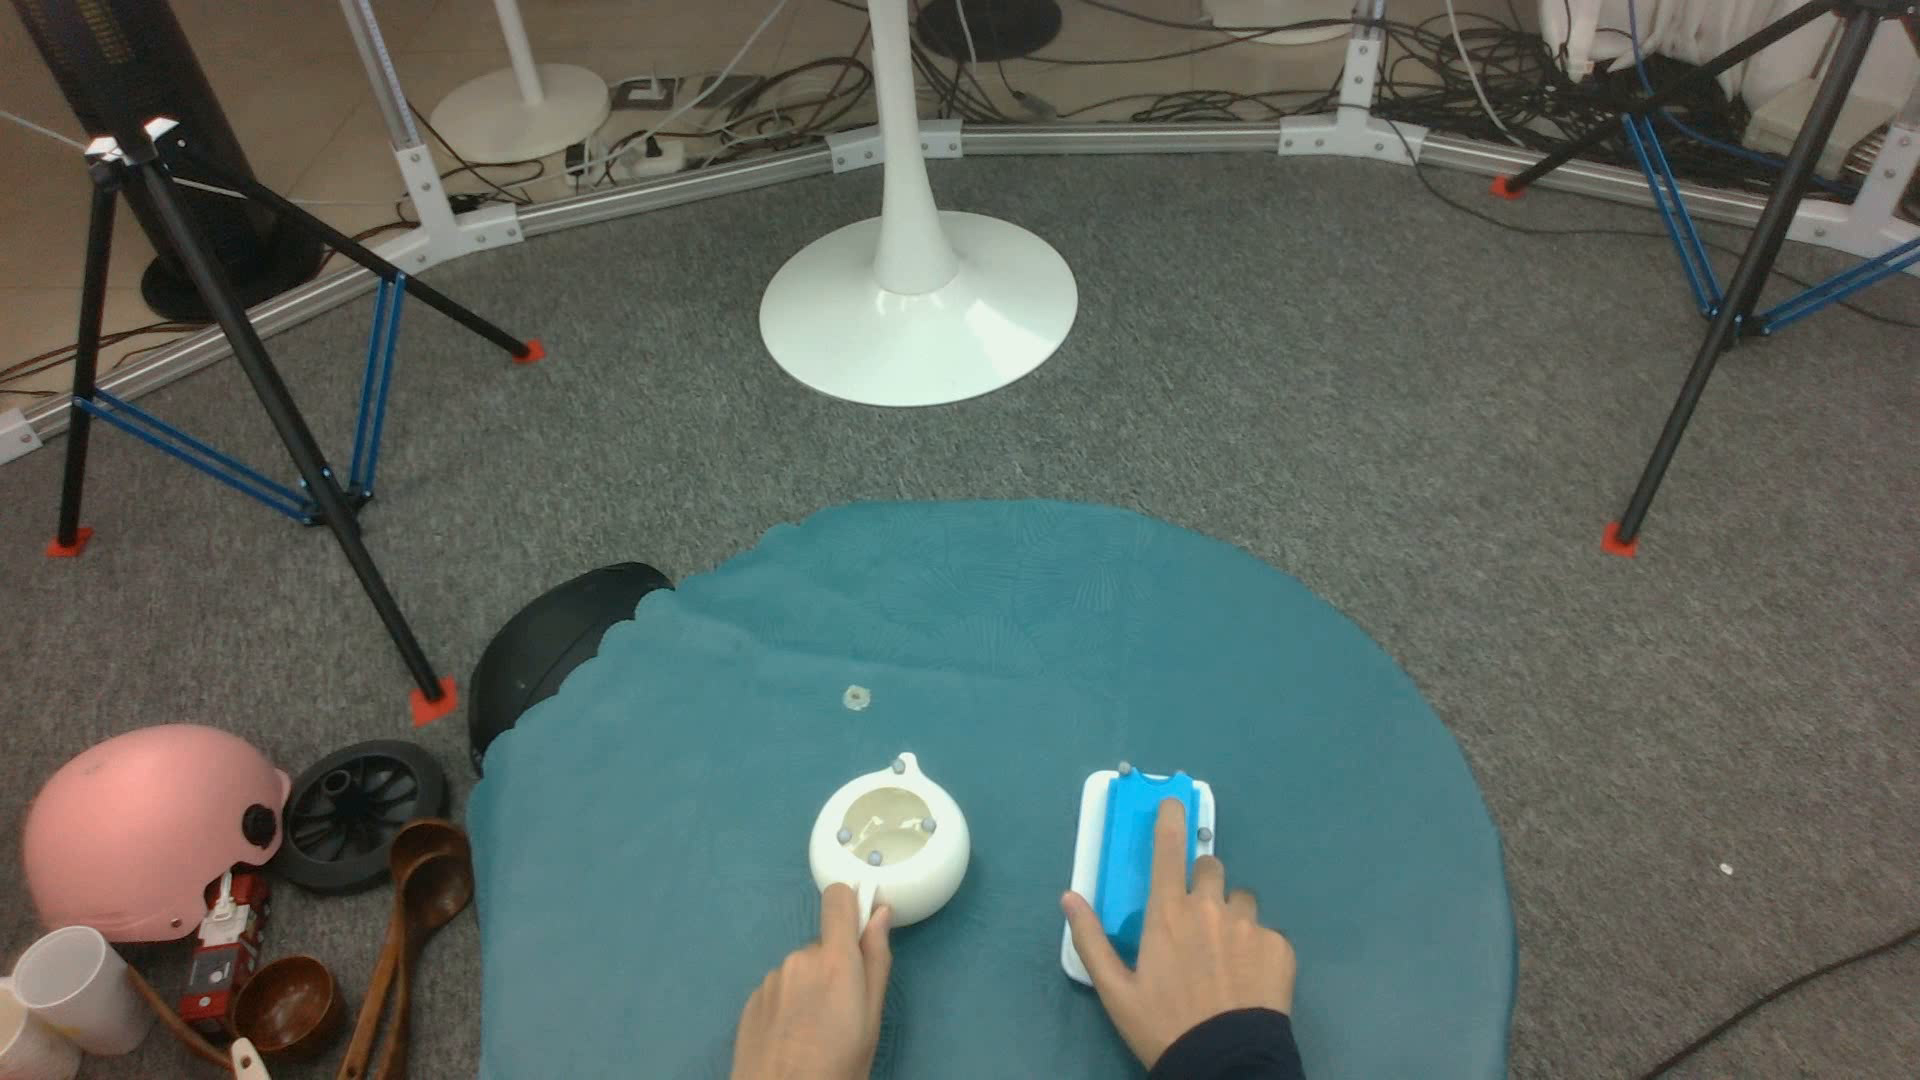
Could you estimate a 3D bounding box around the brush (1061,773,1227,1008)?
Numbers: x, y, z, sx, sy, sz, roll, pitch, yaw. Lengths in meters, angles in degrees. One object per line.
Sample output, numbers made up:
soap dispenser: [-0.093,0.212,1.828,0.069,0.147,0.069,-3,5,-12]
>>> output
brush: [0.107,0.192,0.790,0.084,0.055,0.145,6,45,13]

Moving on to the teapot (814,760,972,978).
teapot: [-0.041,0.192,0.804,0.093,0.056,0.128,5,46,4]
